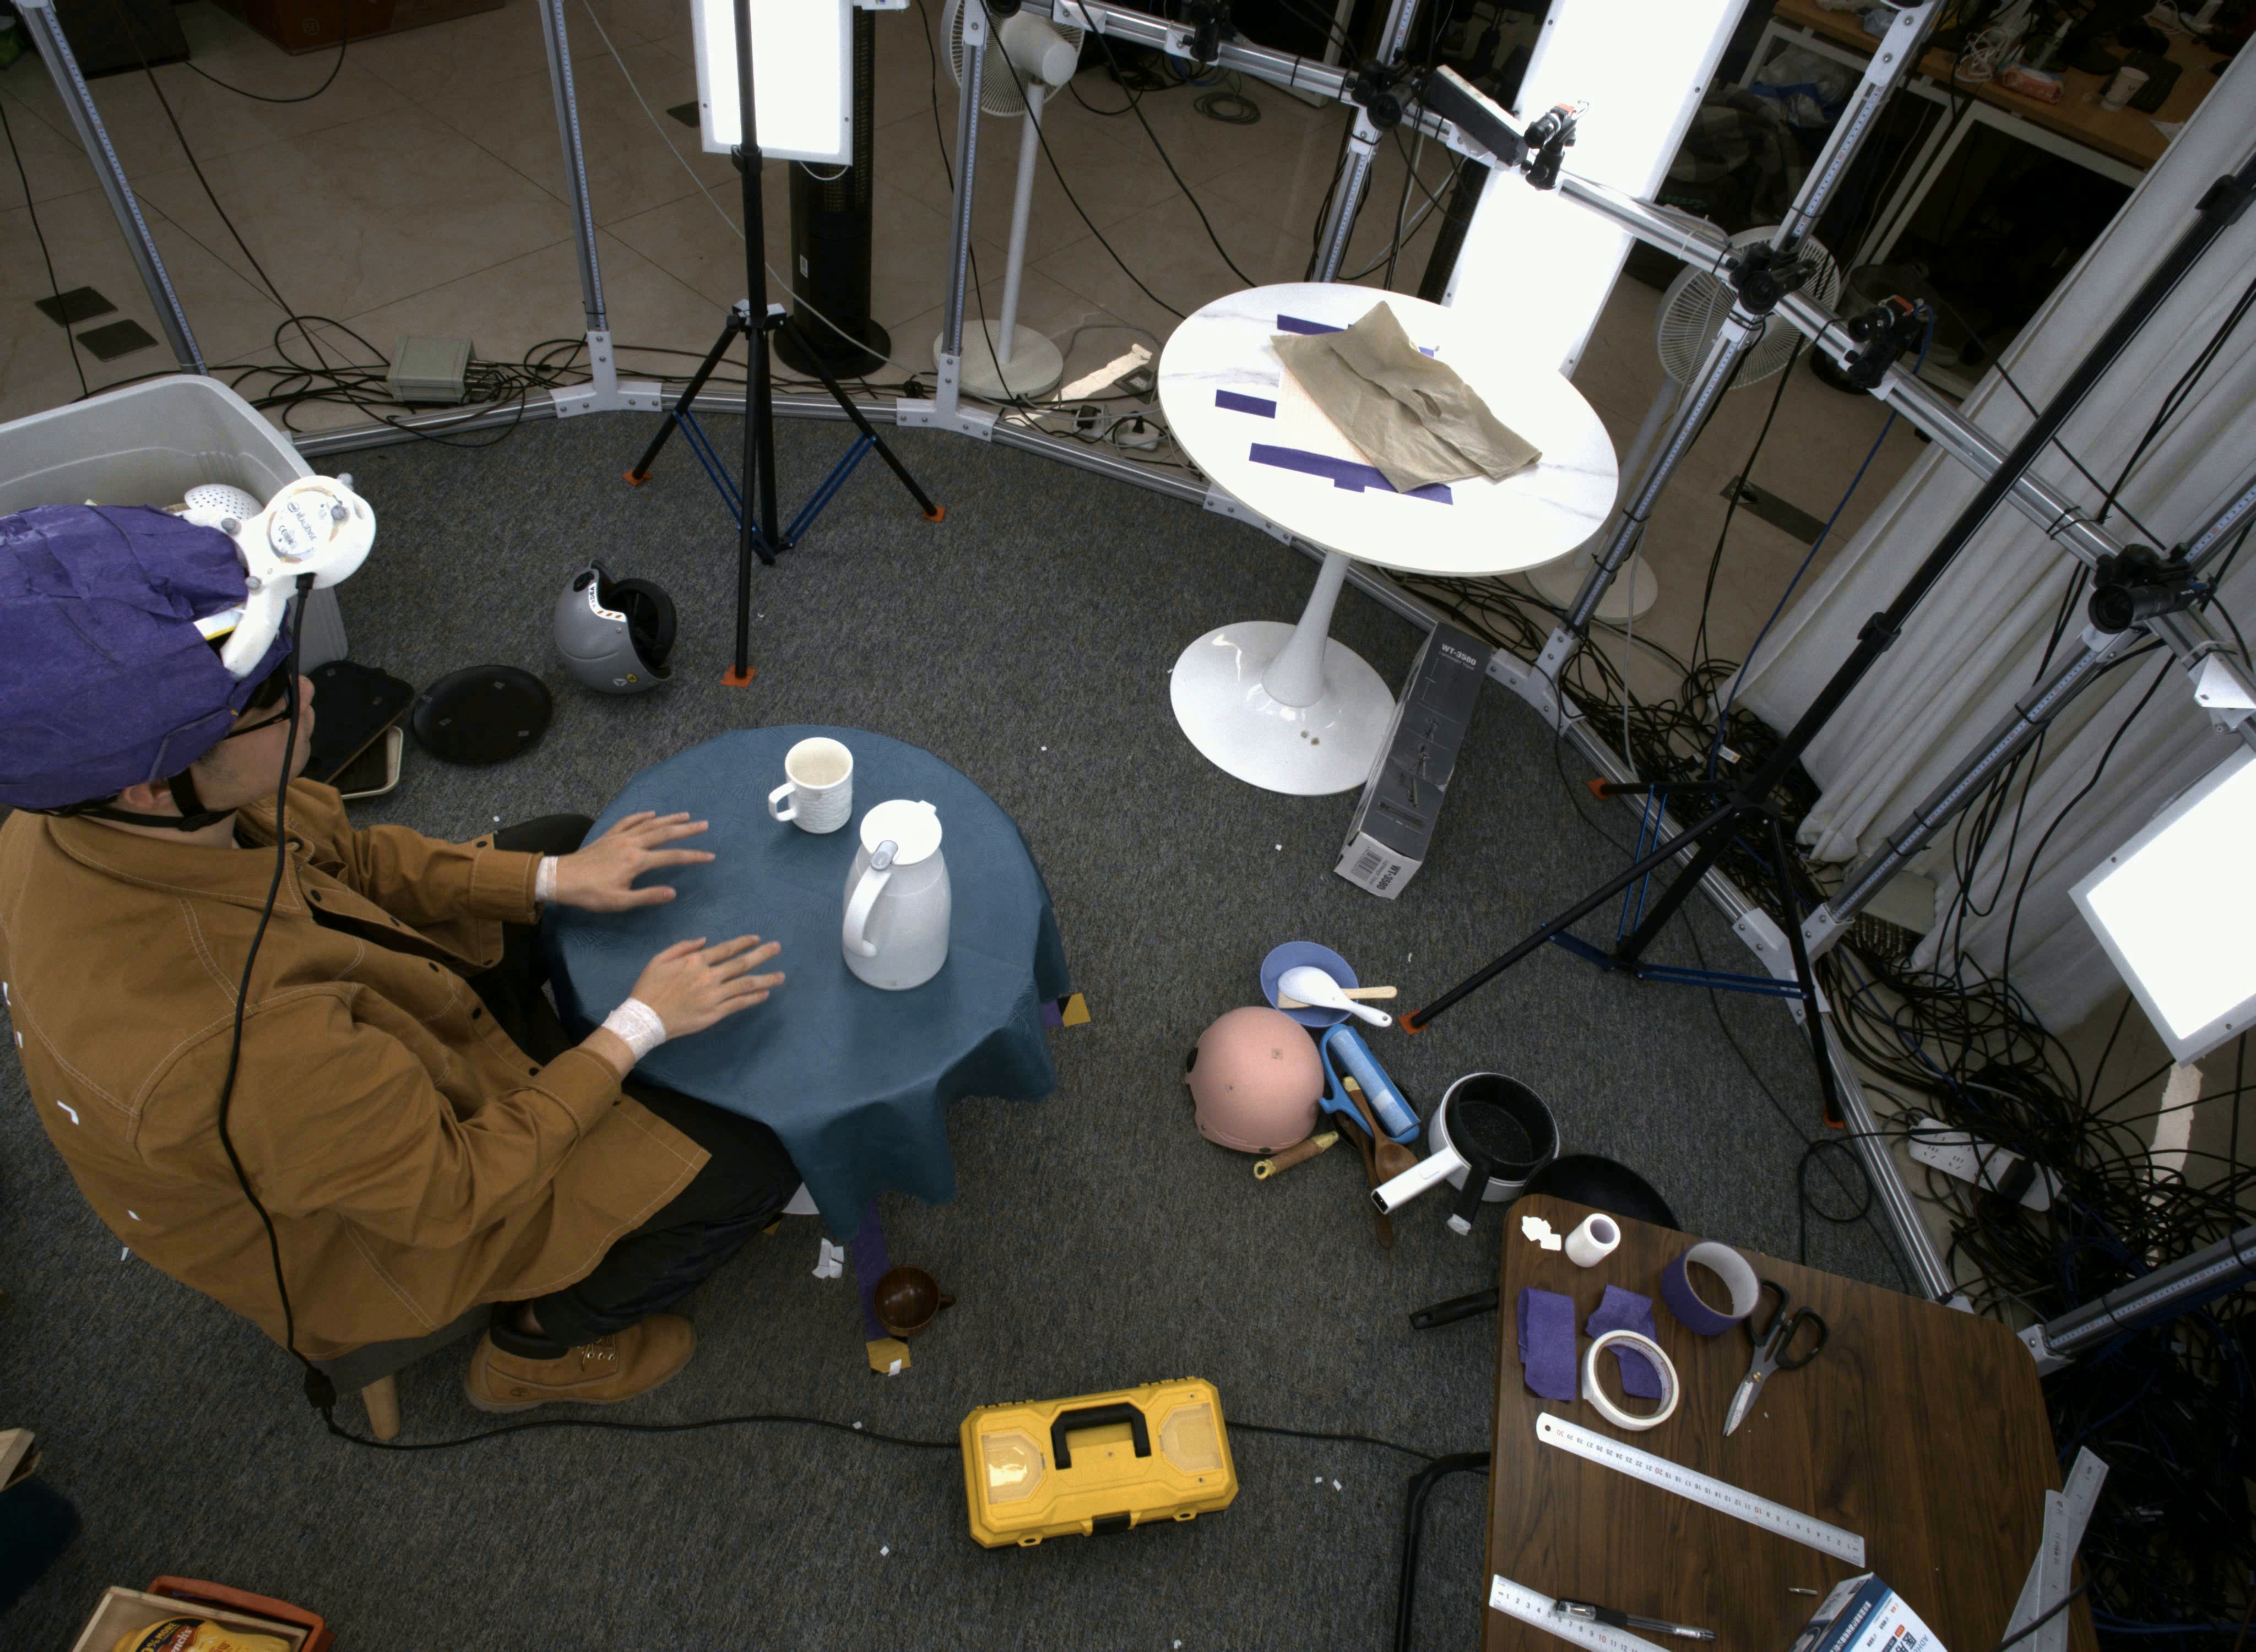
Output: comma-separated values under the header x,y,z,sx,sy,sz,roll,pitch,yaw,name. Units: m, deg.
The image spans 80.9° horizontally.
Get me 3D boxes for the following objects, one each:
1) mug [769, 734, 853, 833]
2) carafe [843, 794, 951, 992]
x,y,z,sx,sy,sz,roll,pitch,yaw,name
-0.416,-0.047,1.690,0.083,0.104,0.118,42,54,19,mug
-0.280,0.086,1.533,0.130,0.254,0.166,24,52,7,carafe
